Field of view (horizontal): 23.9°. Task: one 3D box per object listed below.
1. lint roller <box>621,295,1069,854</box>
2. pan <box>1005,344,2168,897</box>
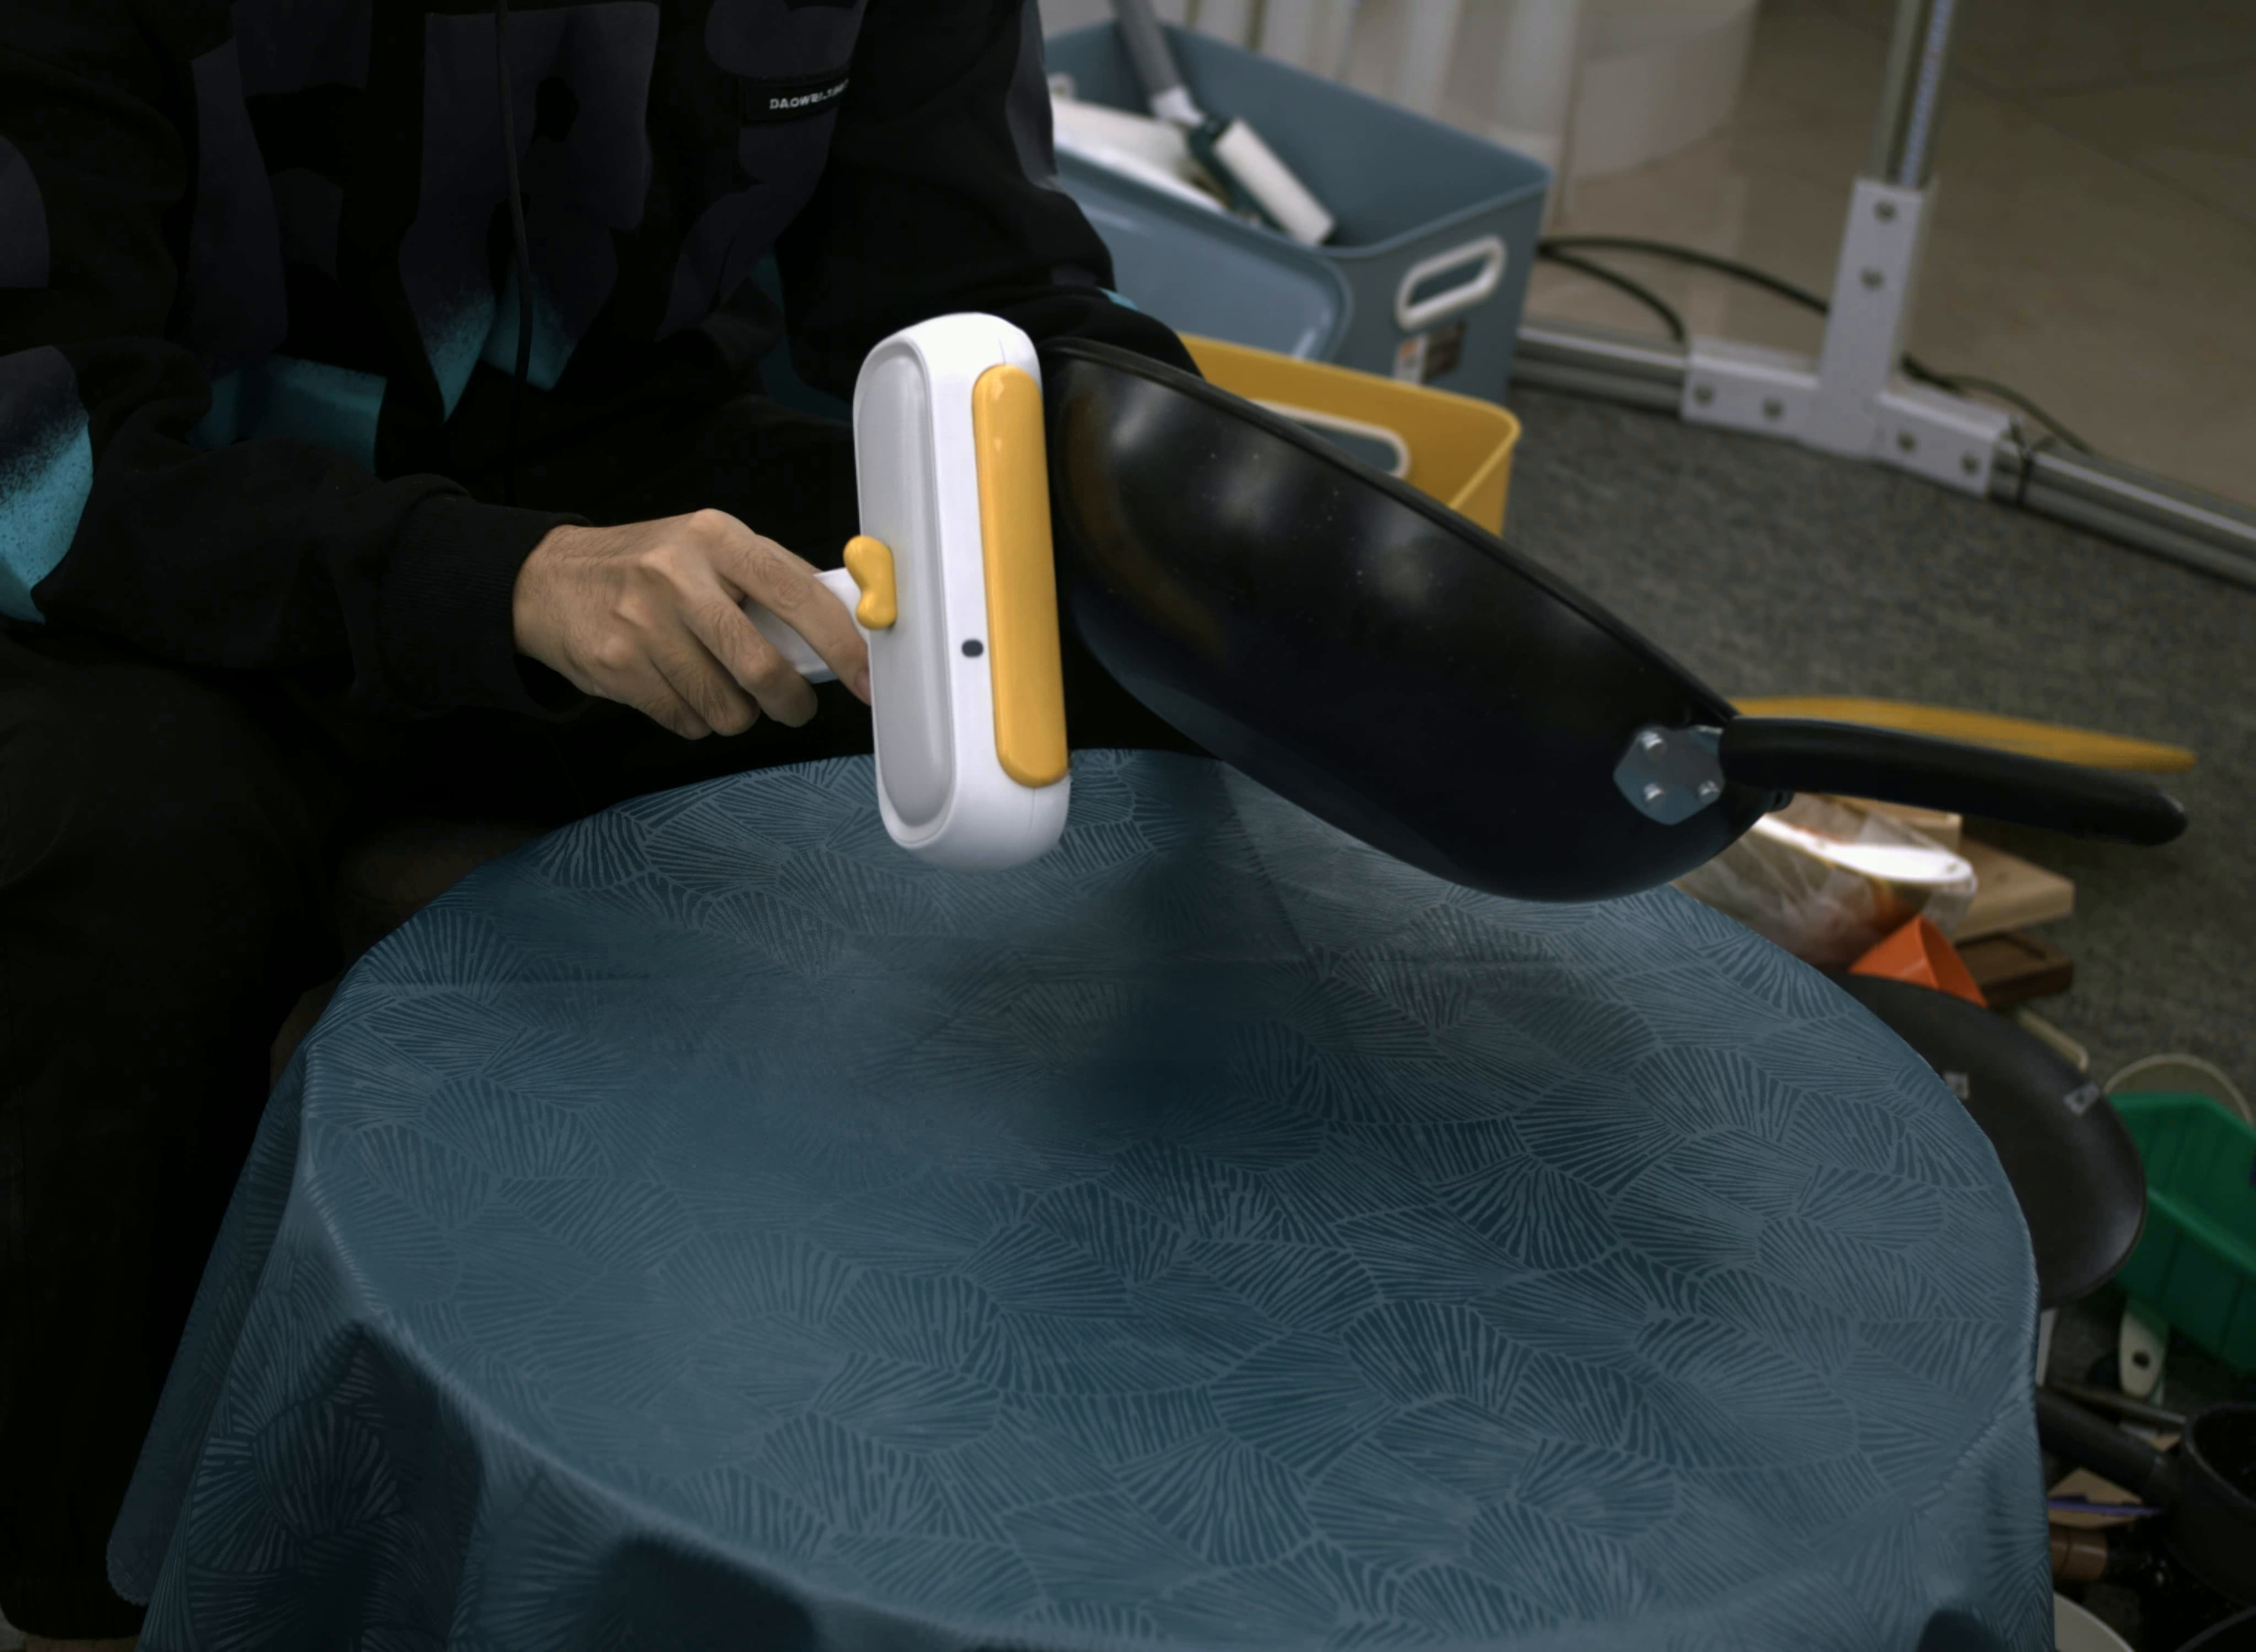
[{"bbox_3d":[-0.101,-0.073,1.858,0.073,0.194,0.193,-2,-12,-41],"label":"lint roller"},{"bbox_3d":[0.135,-0.038,1.805,0.480,0.112,0.307,25,-6,42],"label":"pan"}]
